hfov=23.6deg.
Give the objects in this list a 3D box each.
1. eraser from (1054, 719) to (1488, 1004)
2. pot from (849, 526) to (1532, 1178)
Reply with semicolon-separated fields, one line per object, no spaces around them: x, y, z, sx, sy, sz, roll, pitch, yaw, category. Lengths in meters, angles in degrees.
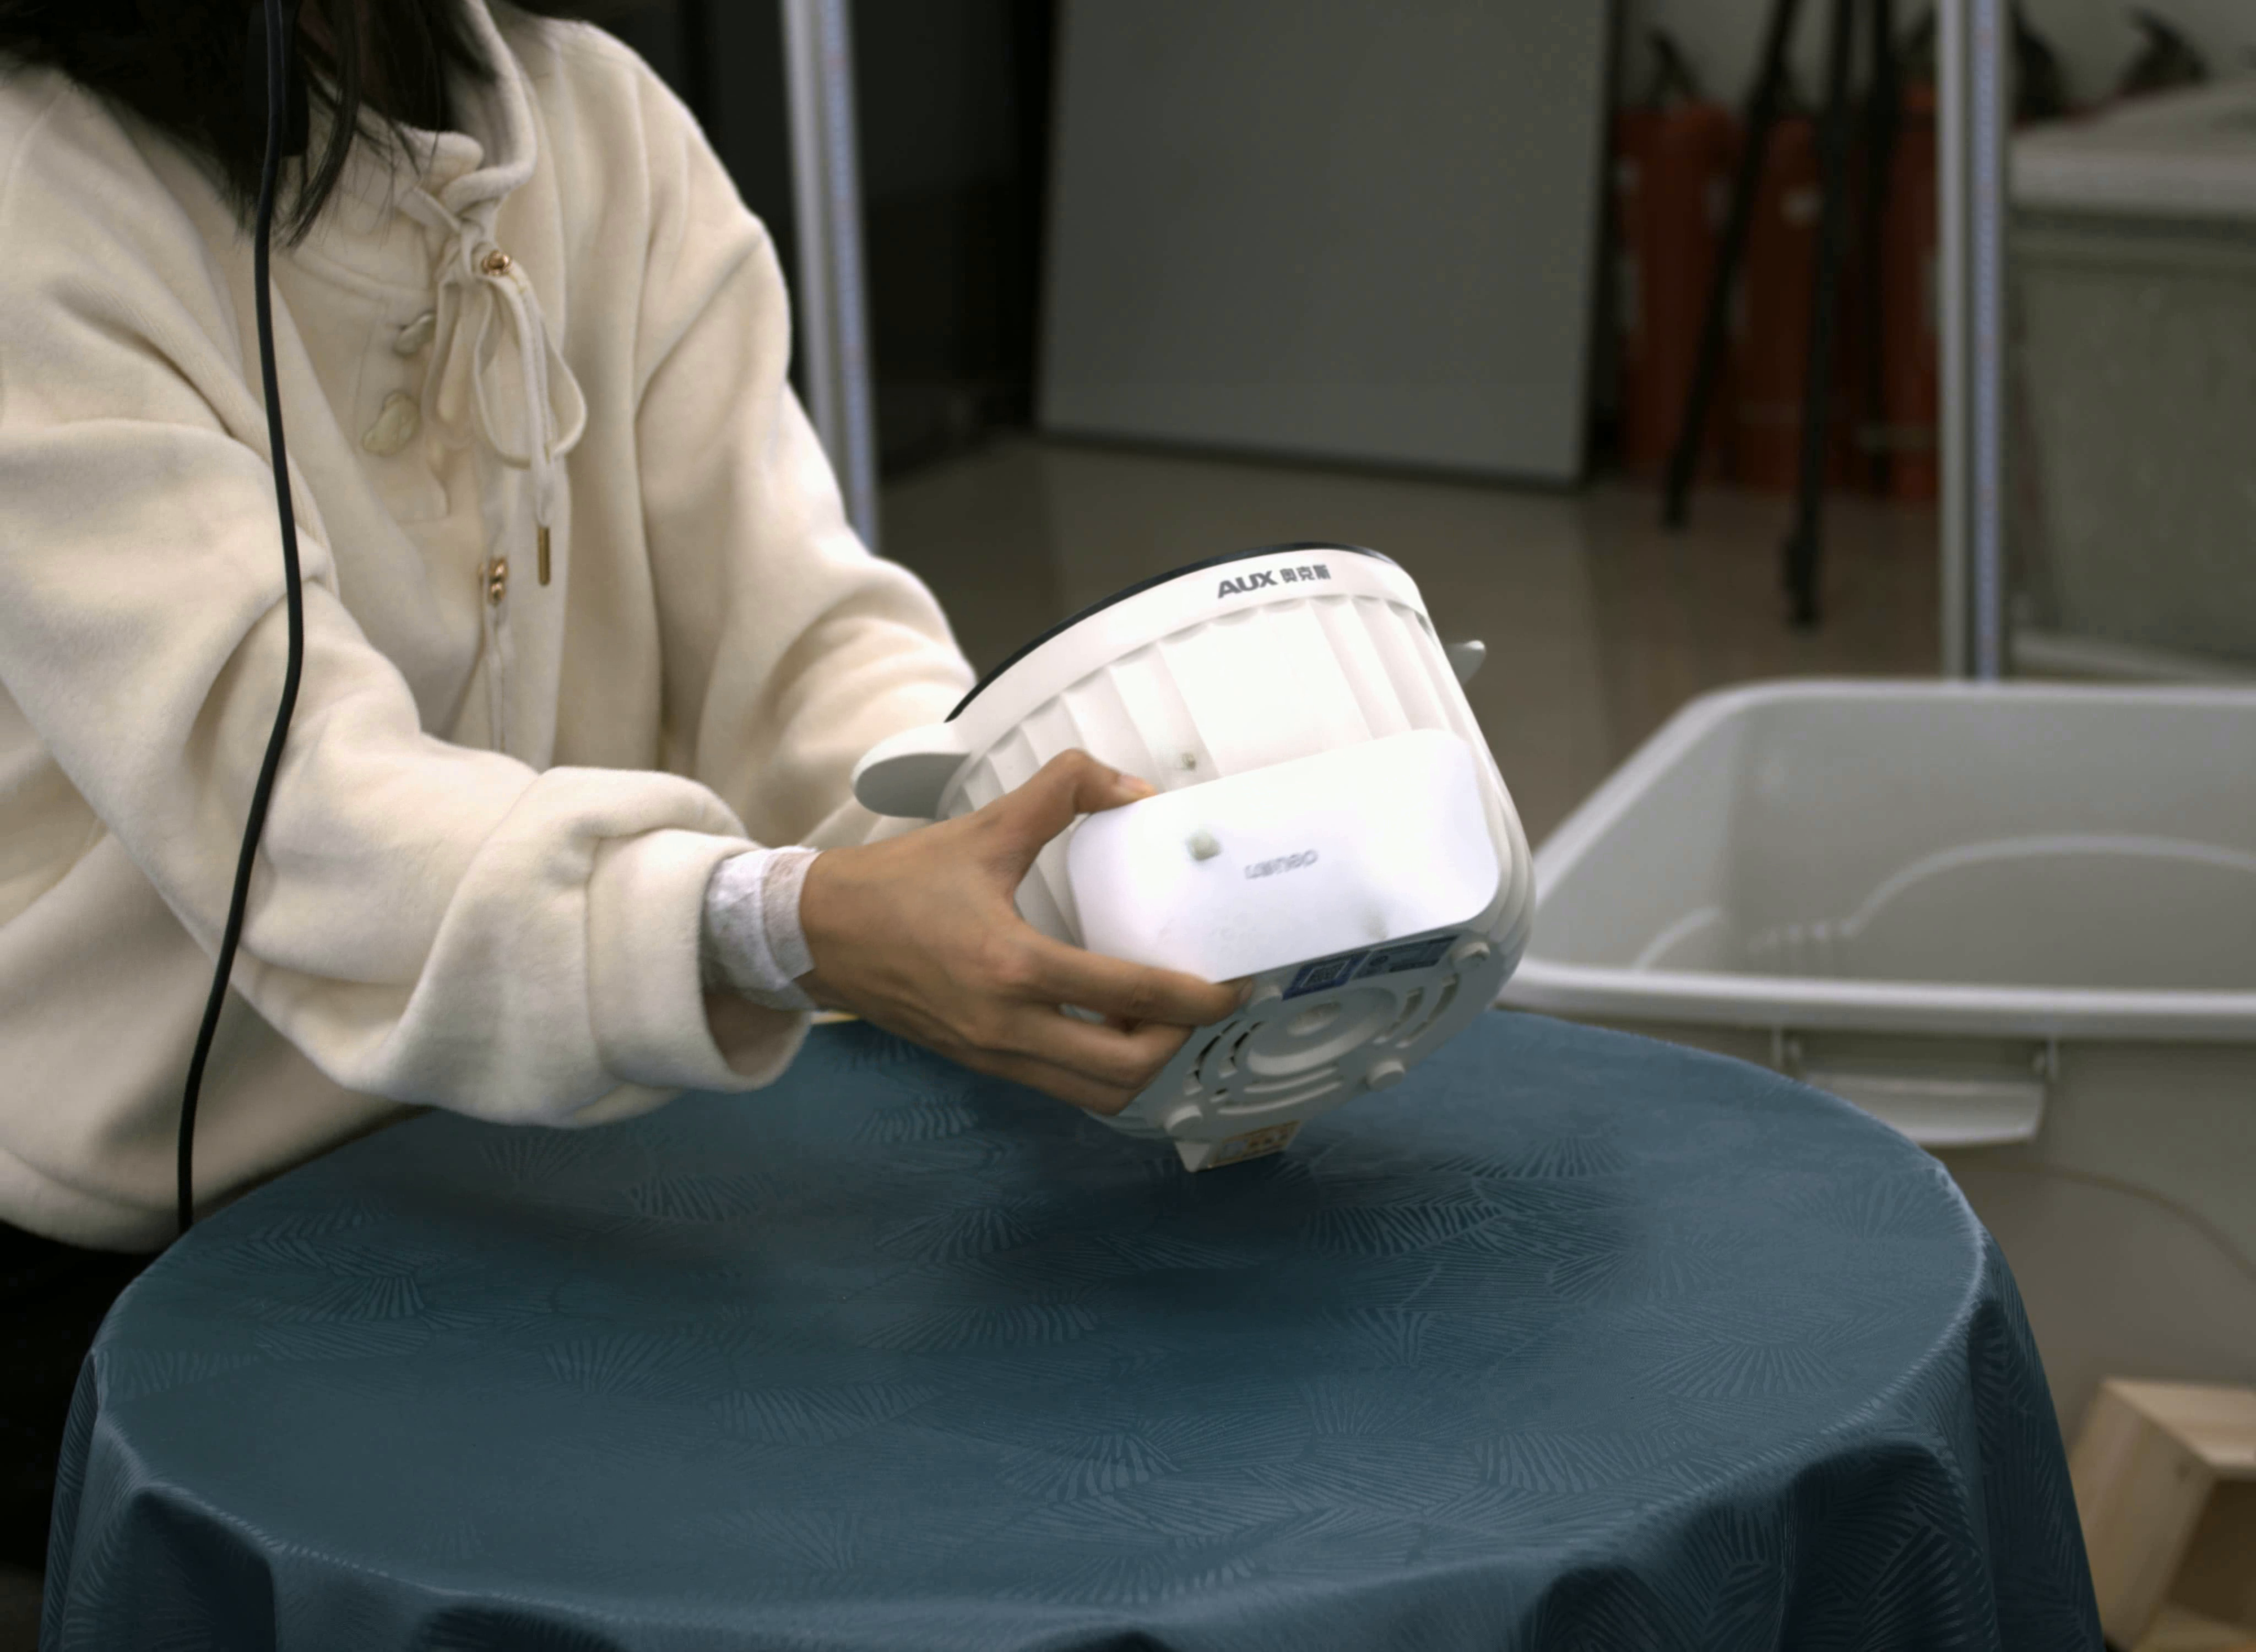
0.044;0.011;1.641;0.130;0.064;0.034;-15;-9;11;eraser
0.041;0.009;1.750;0.235;0.192;0.144;-11;58;-28;pot
